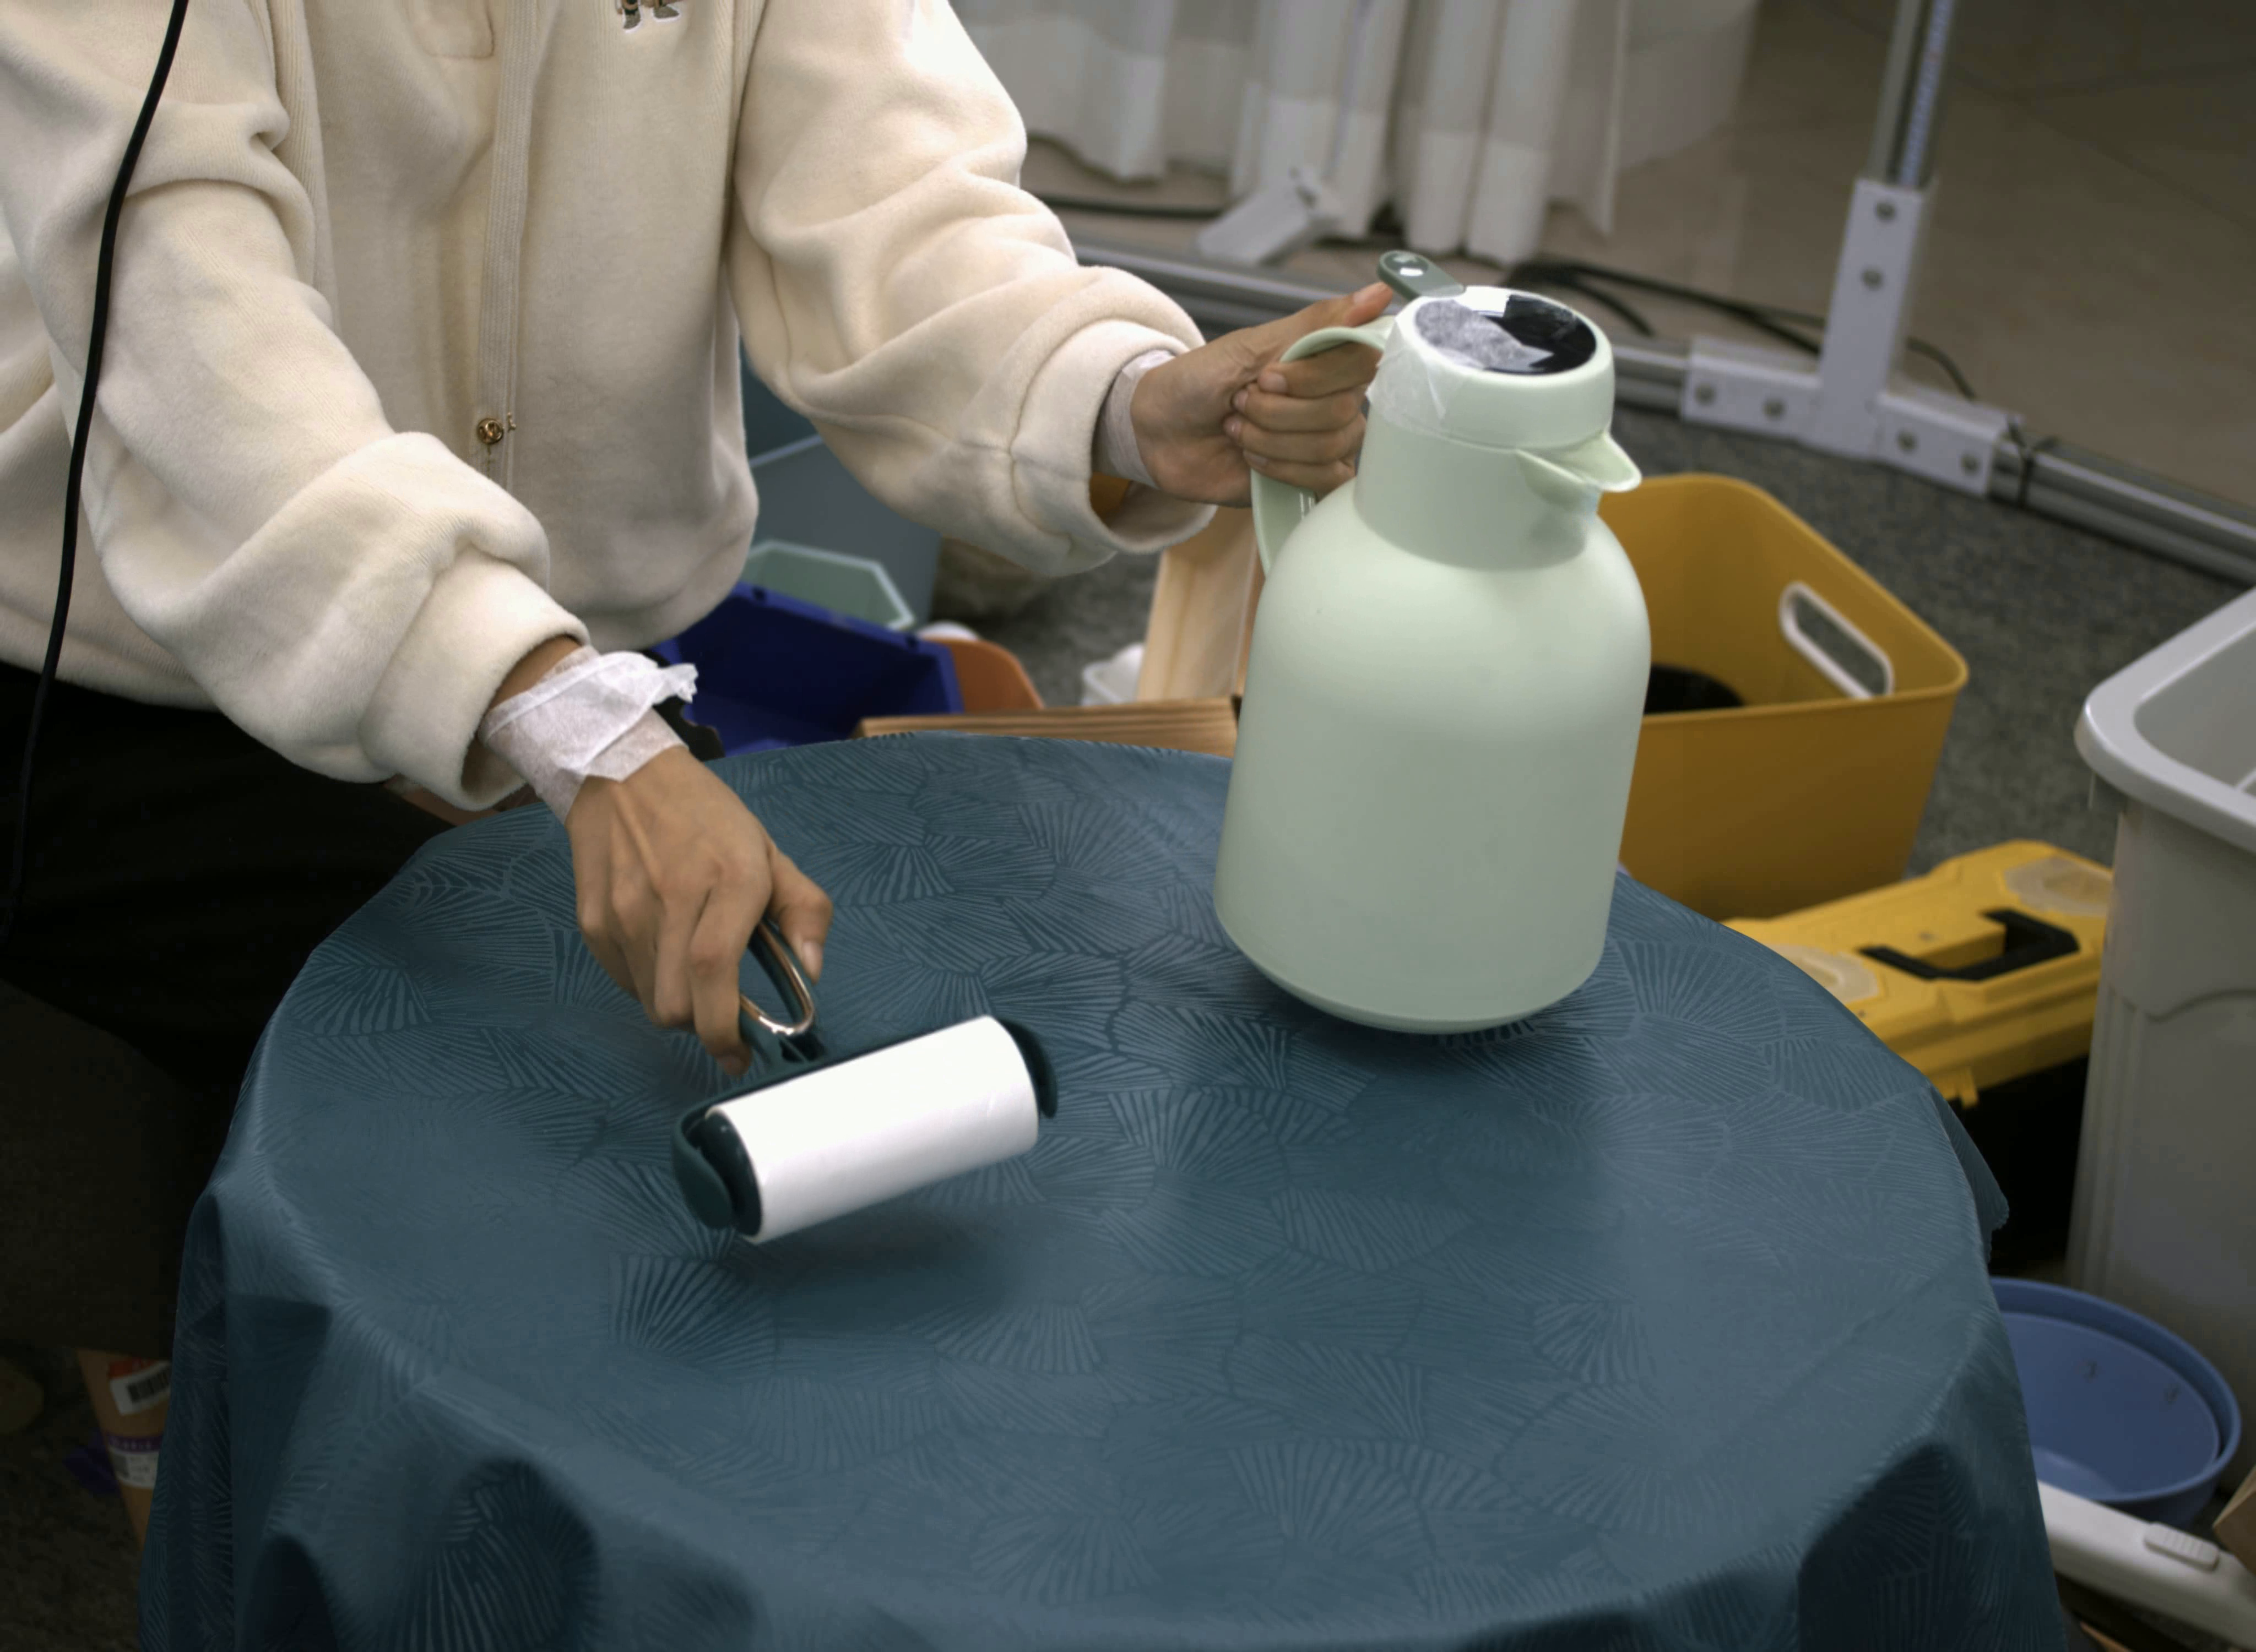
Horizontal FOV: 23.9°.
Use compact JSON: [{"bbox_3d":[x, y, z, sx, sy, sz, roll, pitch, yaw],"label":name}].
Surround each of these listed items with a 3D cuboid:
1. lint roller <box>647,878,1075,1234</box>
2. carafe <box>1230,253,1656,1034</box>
[{"bbox_3d":[-0.115,0.057,1.773,0.133,0.048,0.182,-17,44,-22],"label":"lint roller"},{"bbox_3d":[0.108,-0.070,1.897,0.143,0.256,0.188,-16,33,-31],"label":"carafe"}]
